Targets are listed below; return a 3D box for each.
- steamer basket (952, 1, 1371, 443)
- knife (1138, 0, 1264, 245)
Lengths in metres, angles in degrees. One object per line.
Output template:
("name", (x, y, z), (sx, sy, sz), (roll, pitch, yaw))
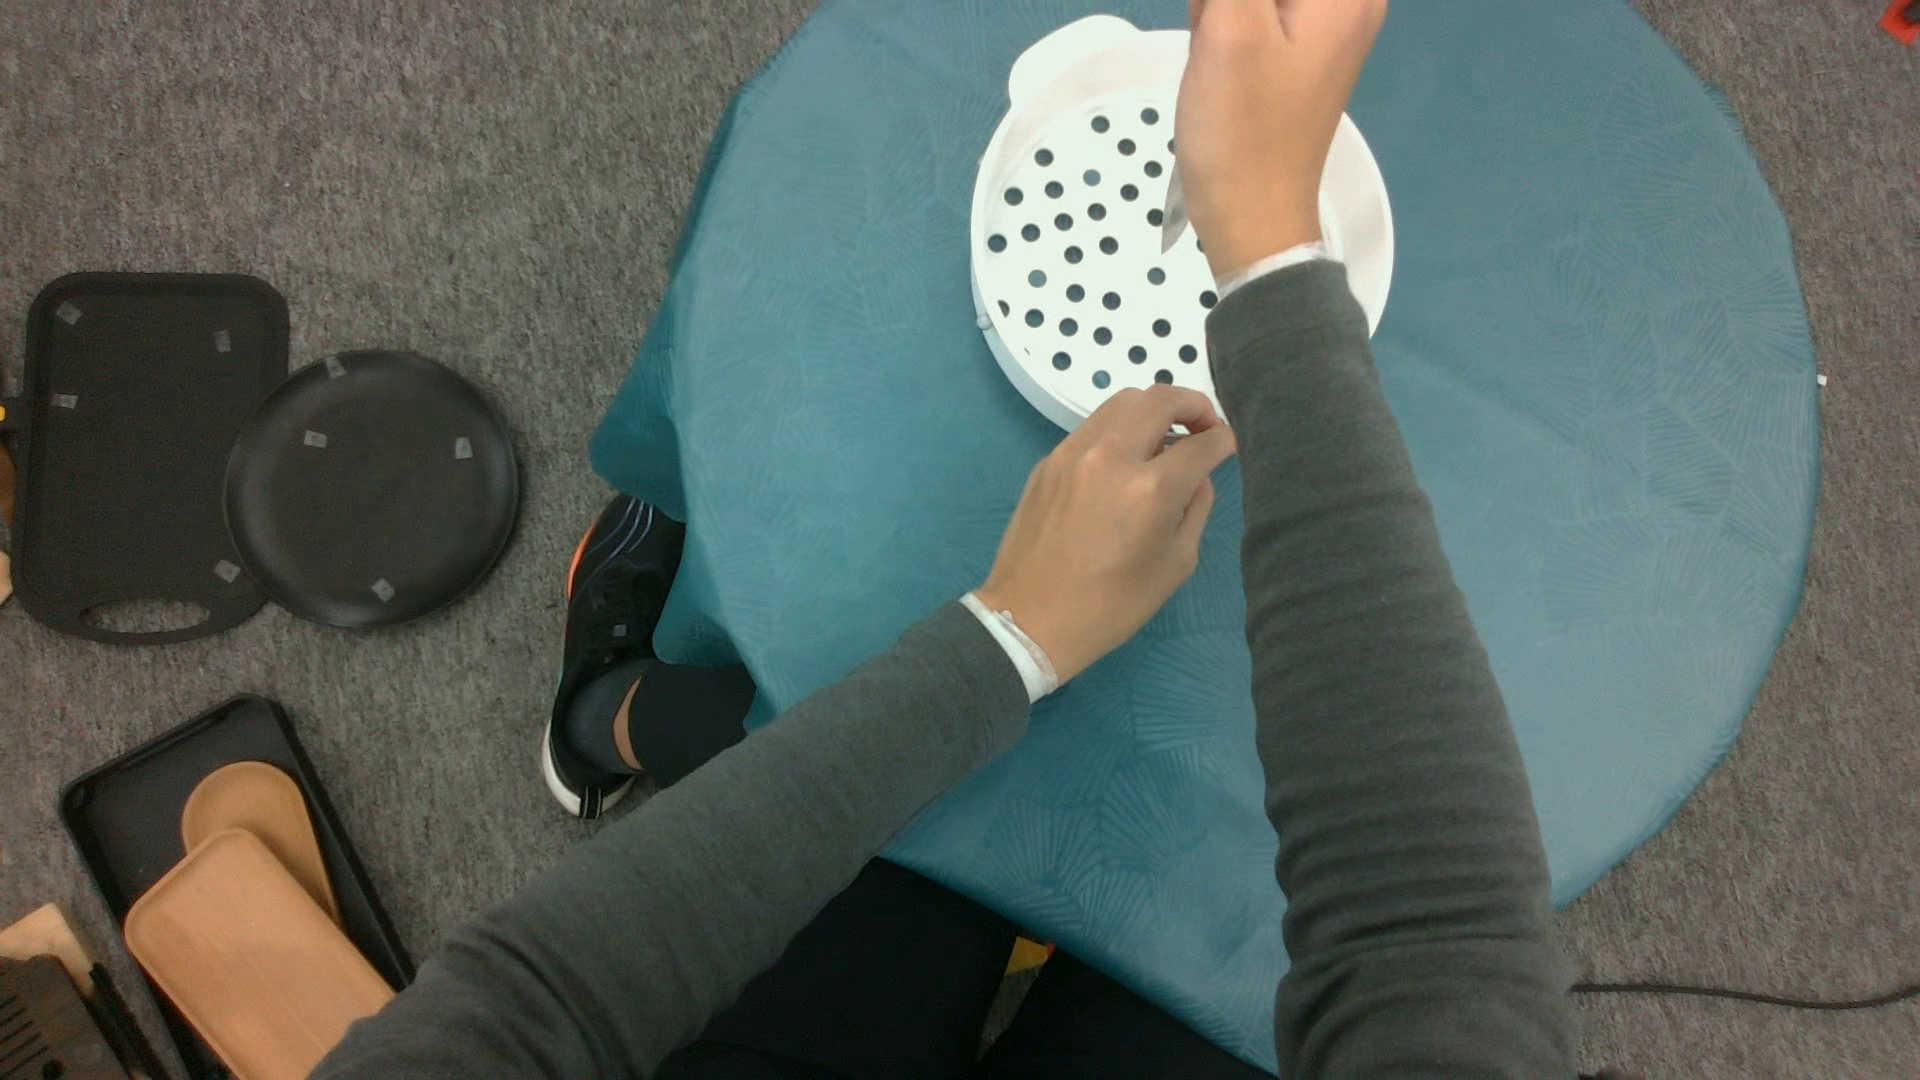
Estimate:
("steamer basket", (0.094, -0.149, 0.678), (0.202, 0.069, 0.230), (-31, 86, -8))
("knife", (0.098, -0.177, 0.583), (0.016, 0.237, 0.024), (-21, 78, -8))
